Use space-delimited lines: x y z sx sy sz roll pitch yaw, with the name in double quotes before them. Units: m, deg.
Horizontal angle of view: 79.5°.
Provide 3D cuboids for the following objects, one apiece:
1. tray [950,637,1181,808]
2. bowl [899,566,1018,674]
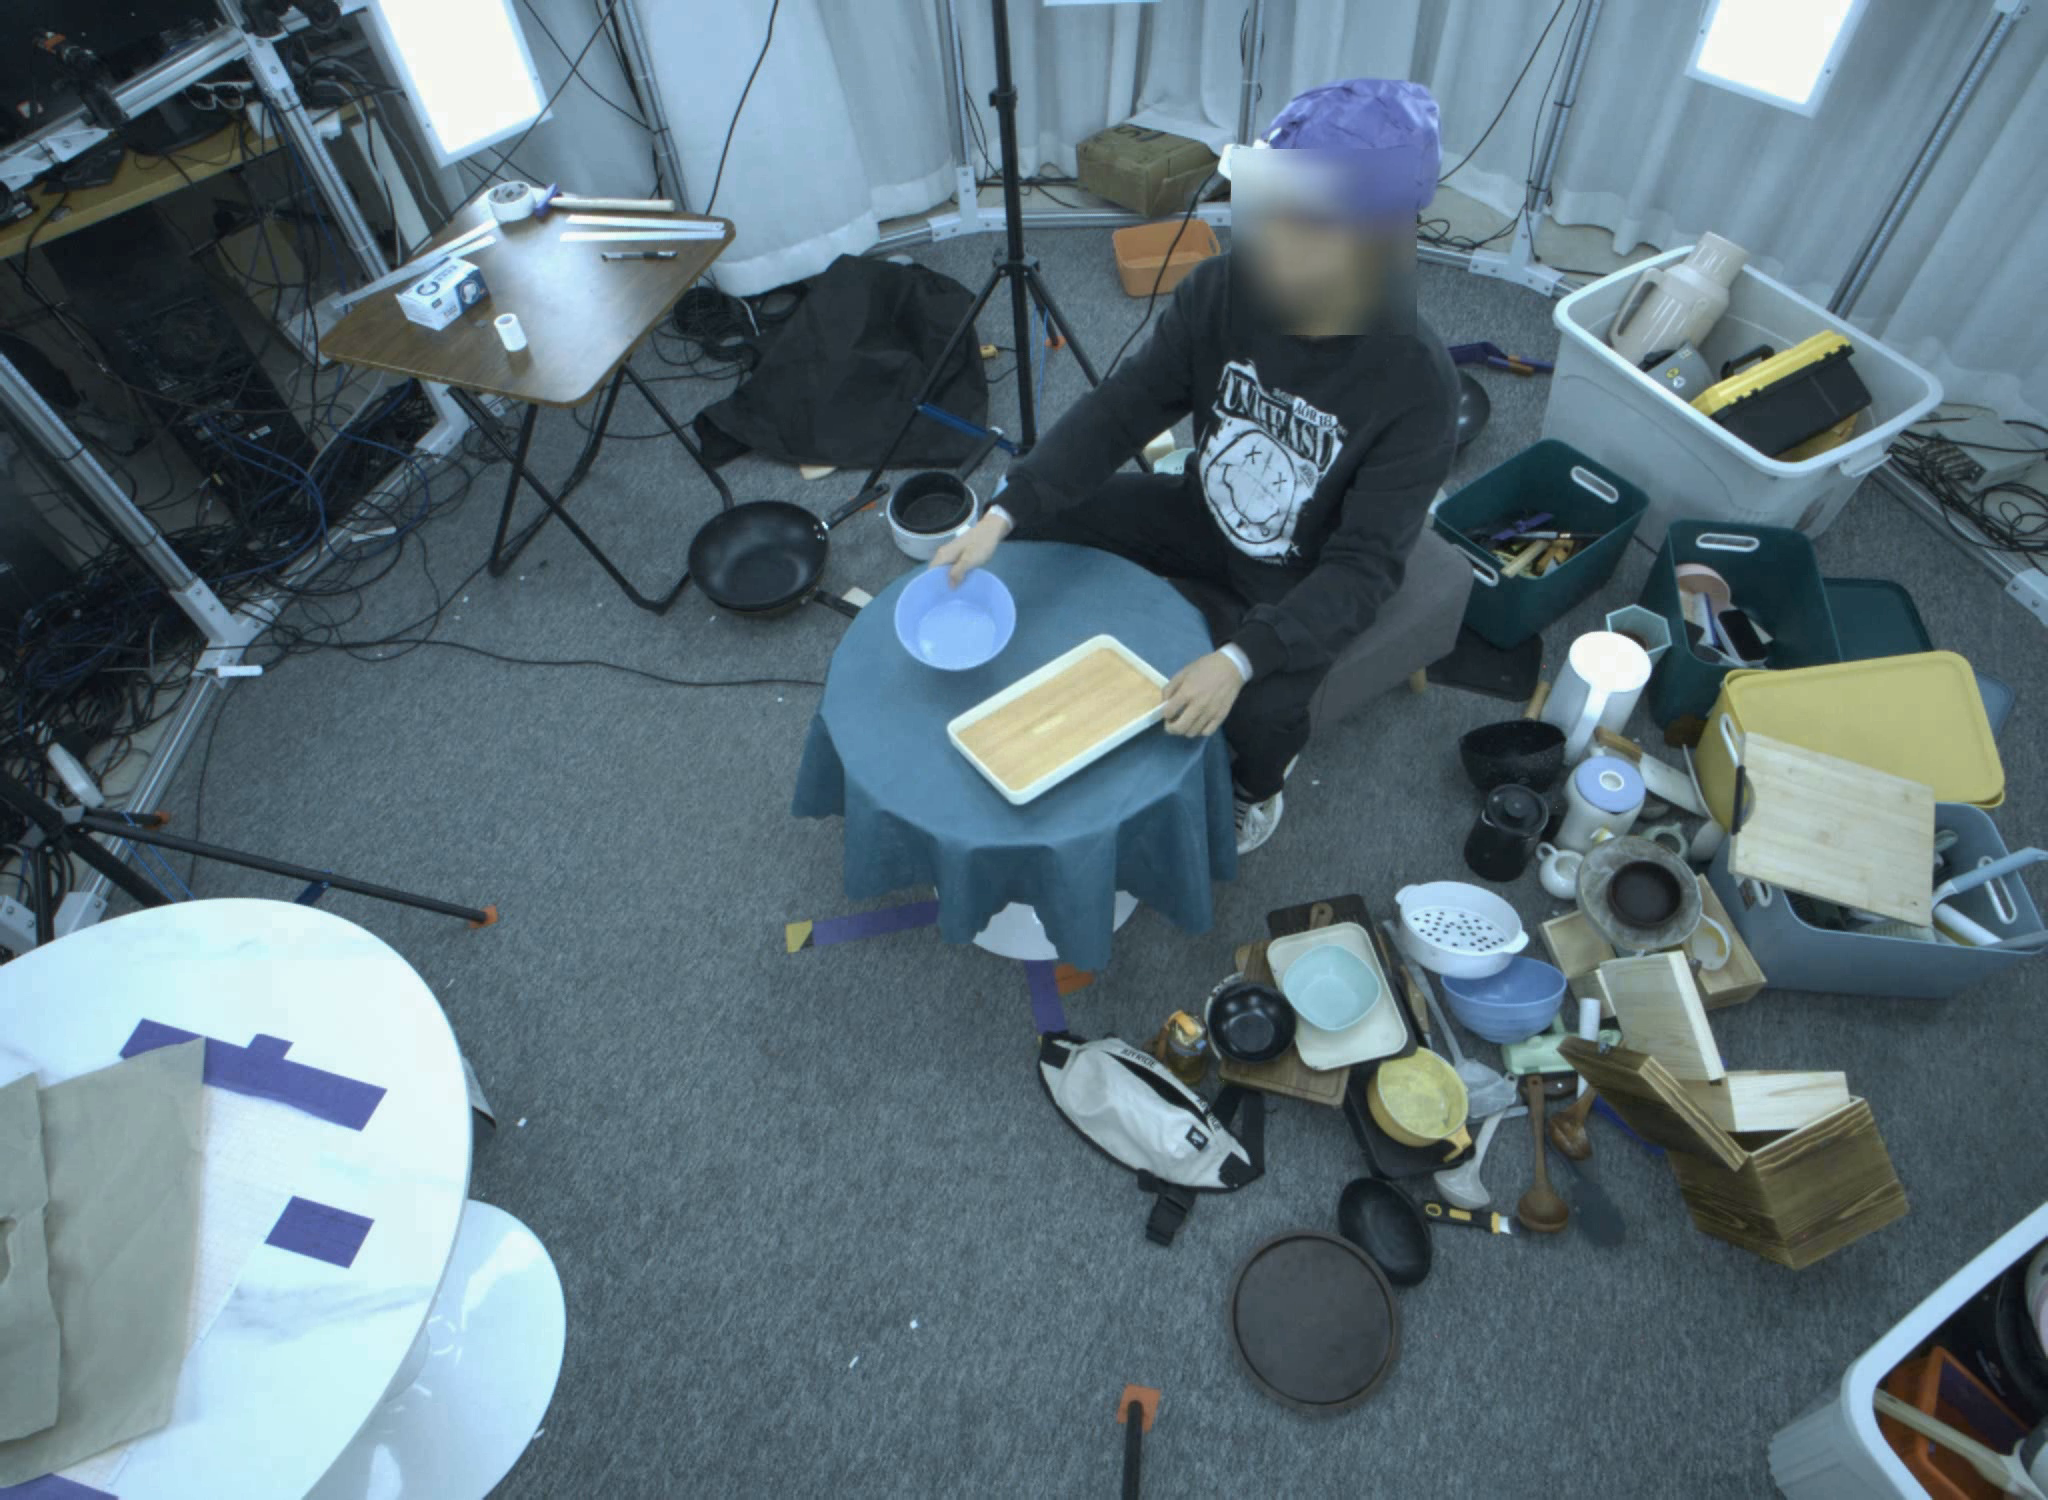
"tray" 0.061 -0.045 1.792 0.302 0.028 0.187 -32 49 -18
"bowl" -0.097 -0.181 1.819 0.176 0.070 0.175 1 69 -2
